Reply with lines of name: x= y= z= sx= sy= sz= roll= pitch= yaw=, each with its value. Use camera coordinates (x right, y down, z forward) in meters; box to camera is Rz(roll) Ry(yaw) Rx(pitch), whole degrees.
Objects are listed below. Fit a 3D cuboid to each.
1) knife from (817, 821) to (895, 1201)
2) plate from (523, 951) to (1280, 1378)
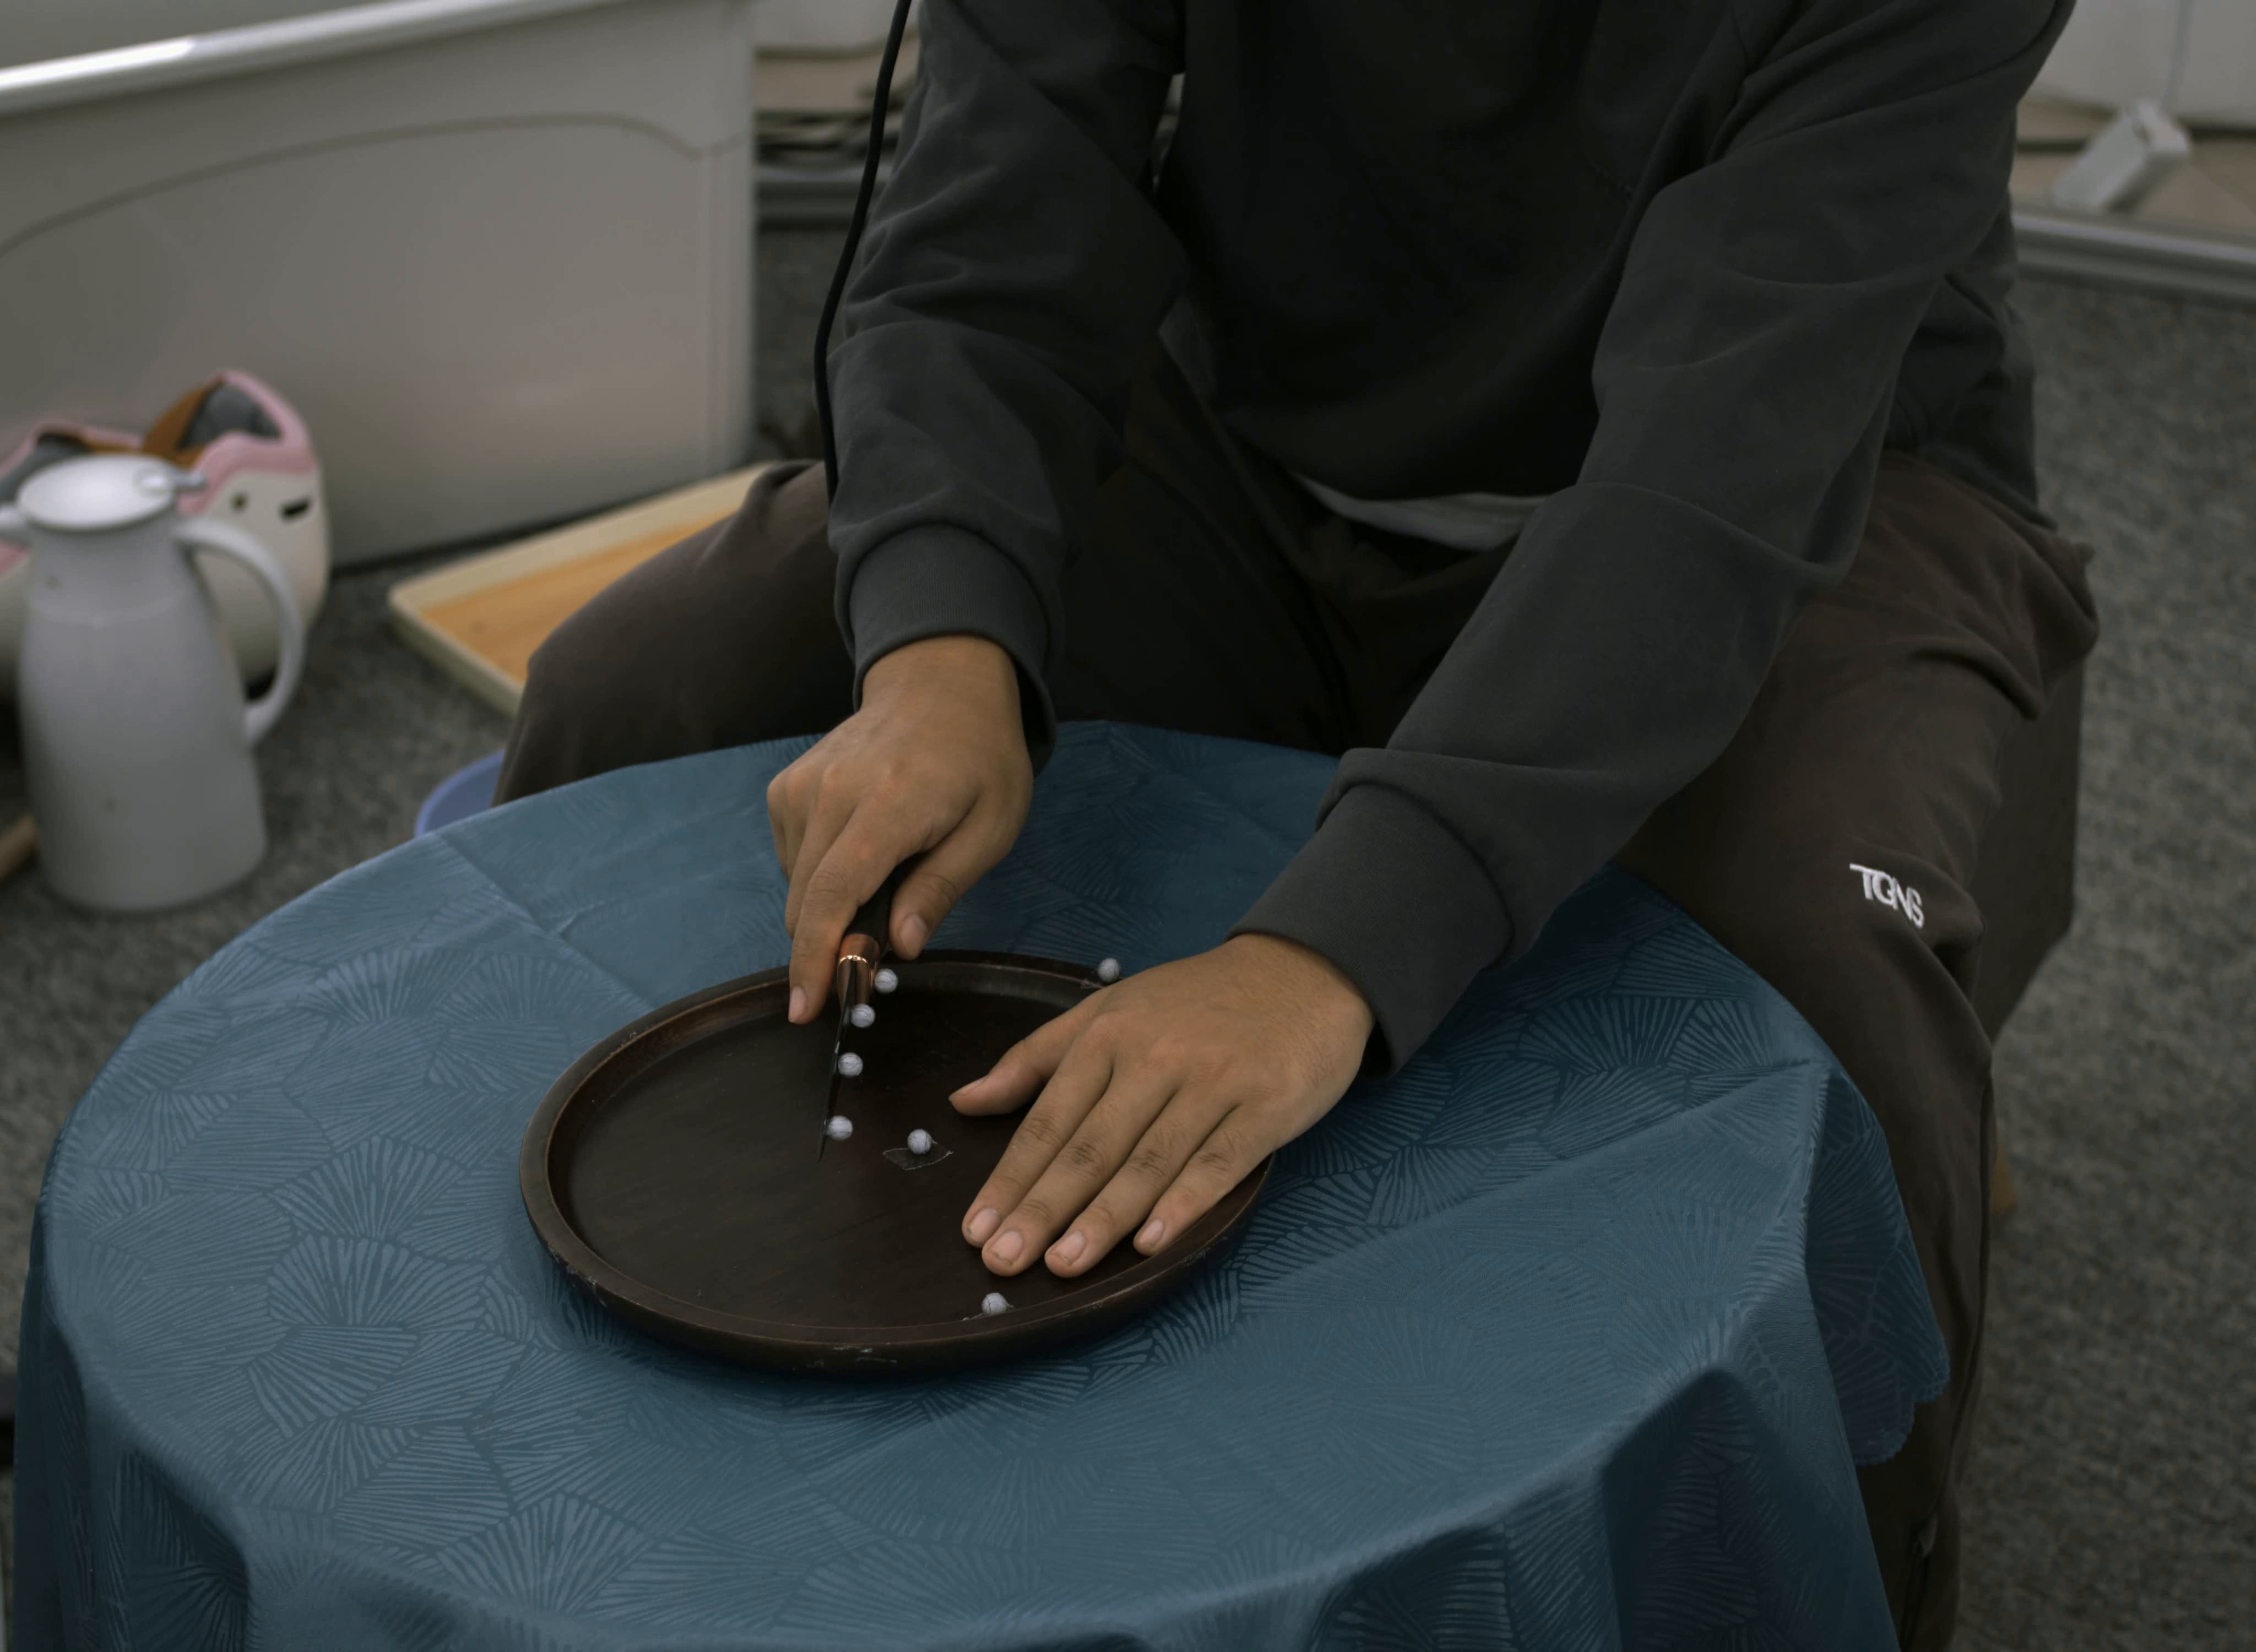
knife: x=-0.094 y=0.059 z=1.901 sx=0.017 sy=0.026 sz=0.229 roll=5 pitch=29 yaw=0
plate: x=-0.075 y=0.111 z=1.867 sx=0.253 sy=0.029 sz=0.258 roll=-2 pitch=26 yaw=1
